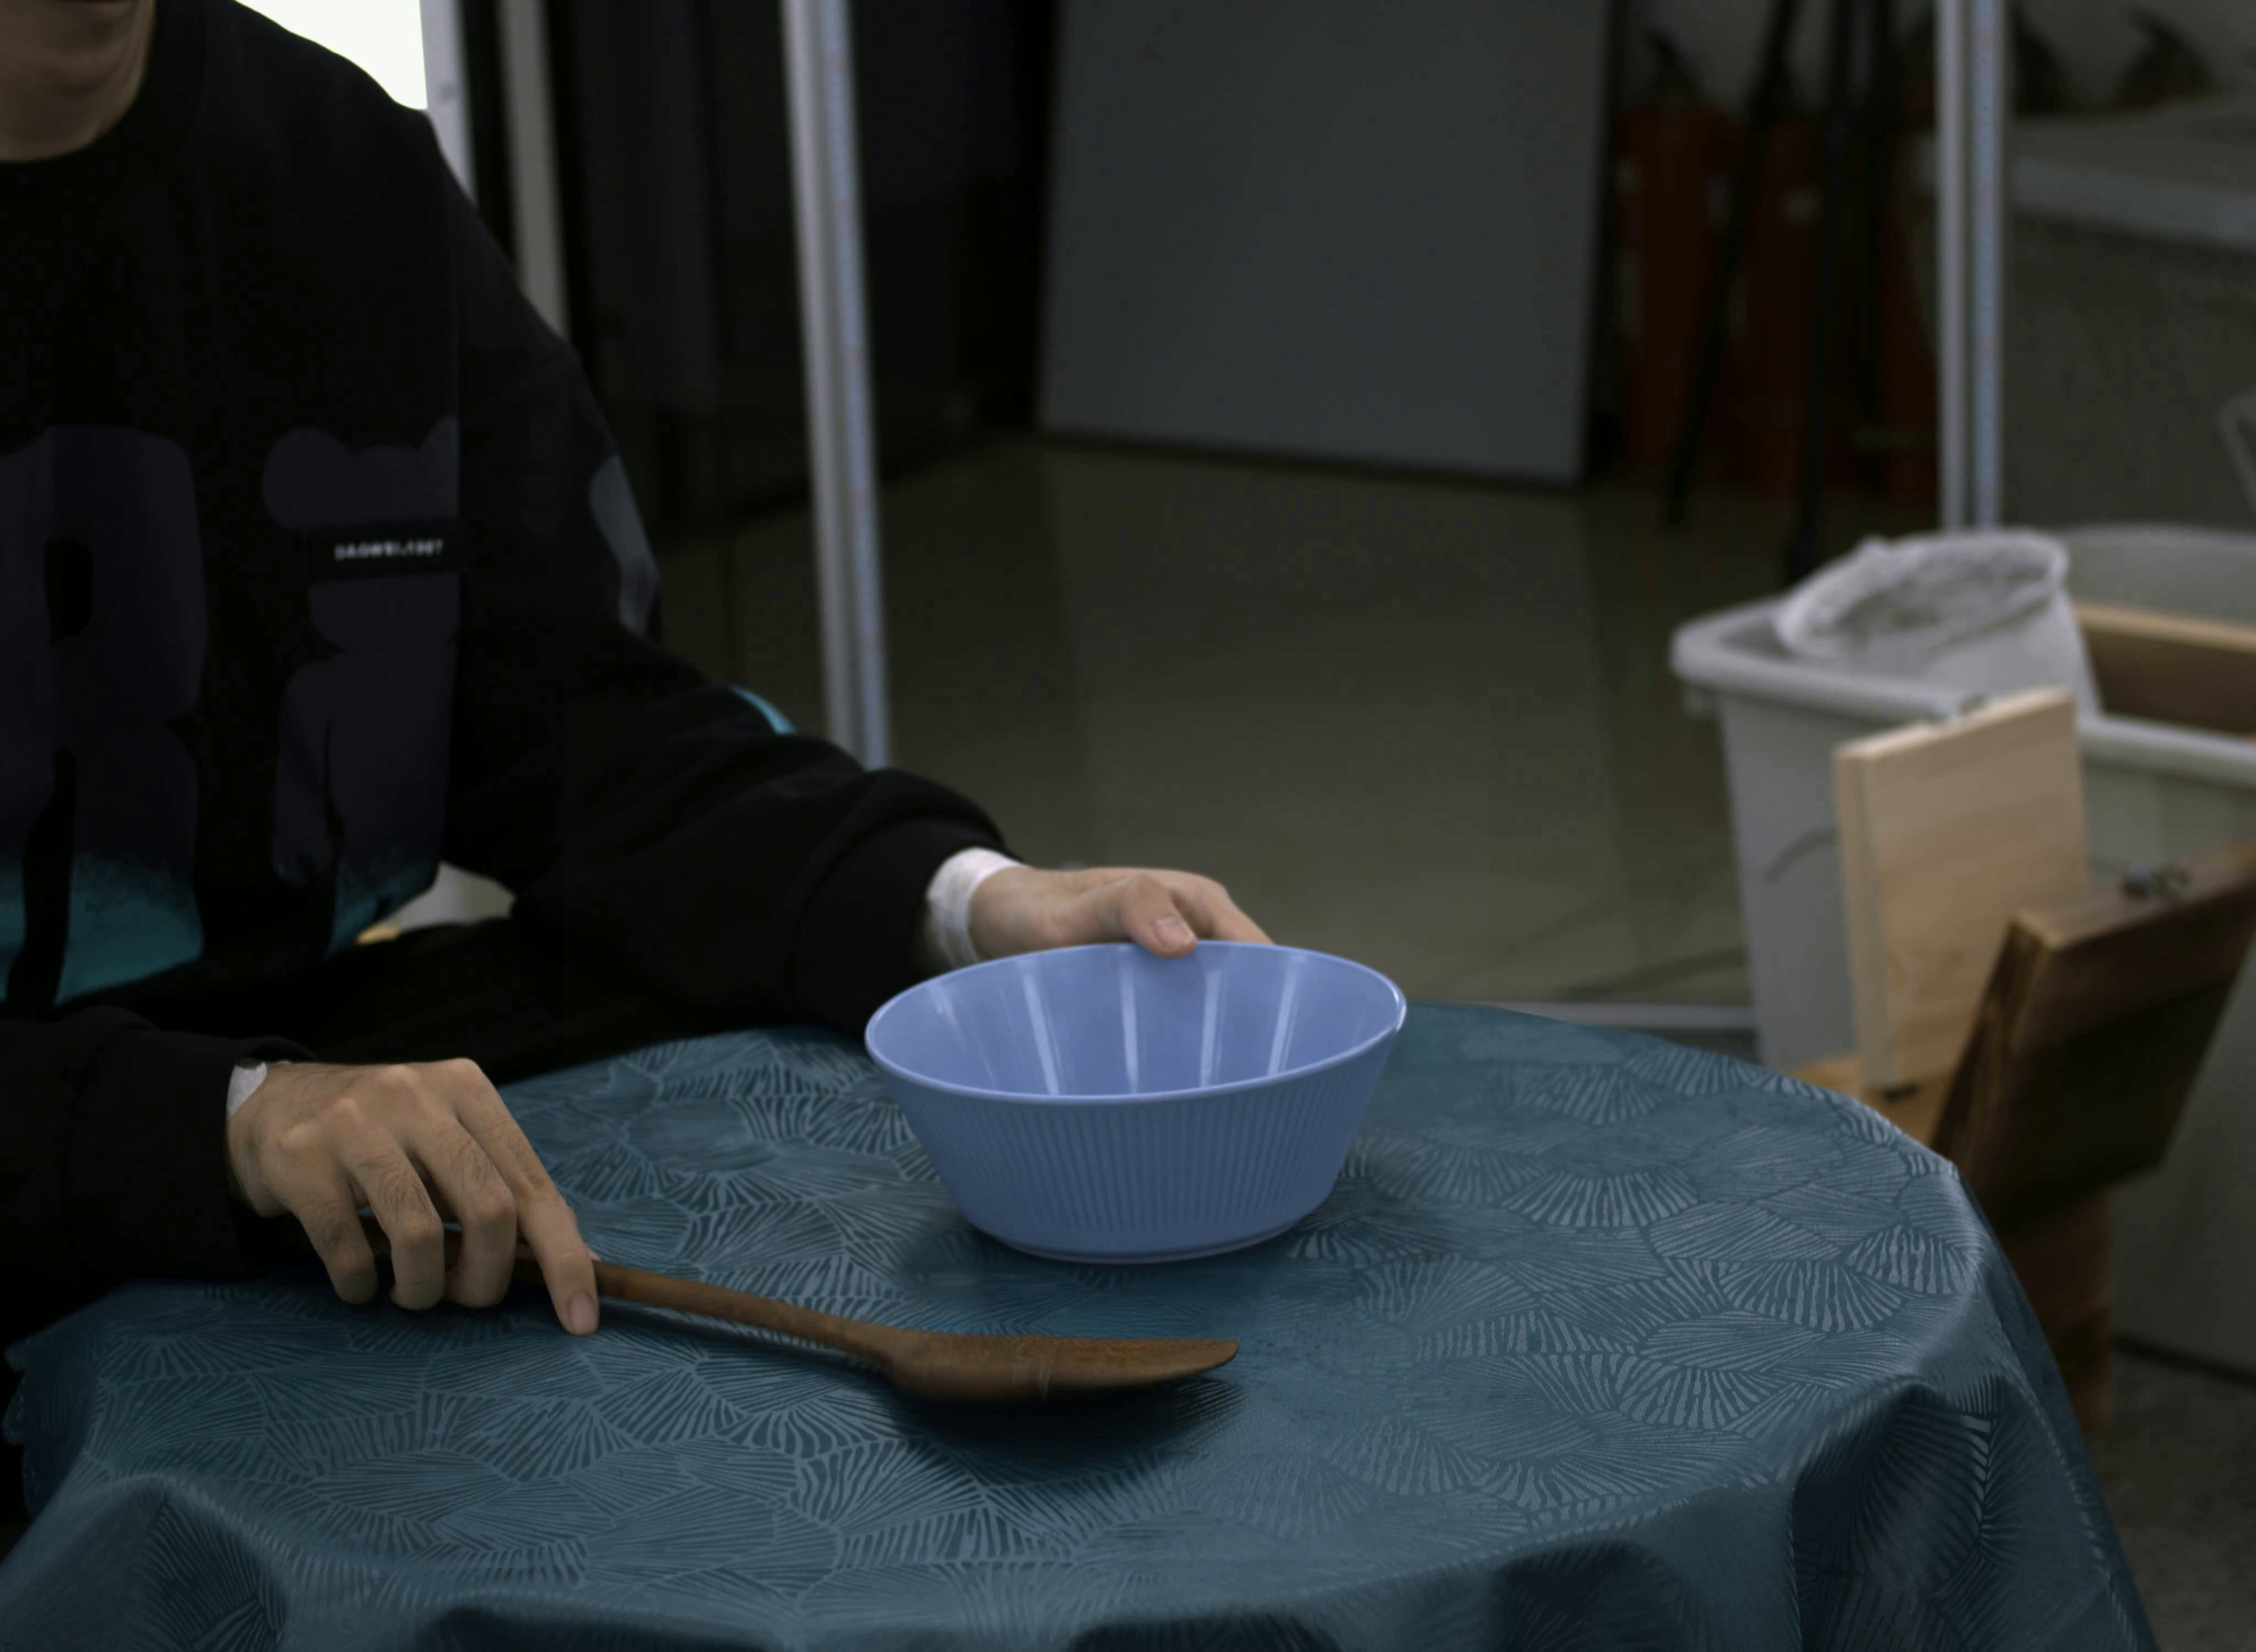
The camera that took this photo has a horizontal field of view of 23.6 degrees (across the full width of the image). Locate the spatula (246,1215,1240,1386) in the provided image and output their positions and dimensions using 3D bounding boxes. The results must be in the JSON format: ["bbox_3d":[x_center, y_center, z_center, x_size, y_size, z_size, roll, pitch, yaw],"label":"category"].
[{"bbox_3d":[-0.135,0.145,1.662,0.389,0.016,0.094,6,2,38],"label":"spatula"}]

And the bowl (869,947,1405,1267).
[{"bbox_3d":[0.005,0.093,1.739,0.174,0.071,0.176,-5,13,0],"label":"bowl"}]
